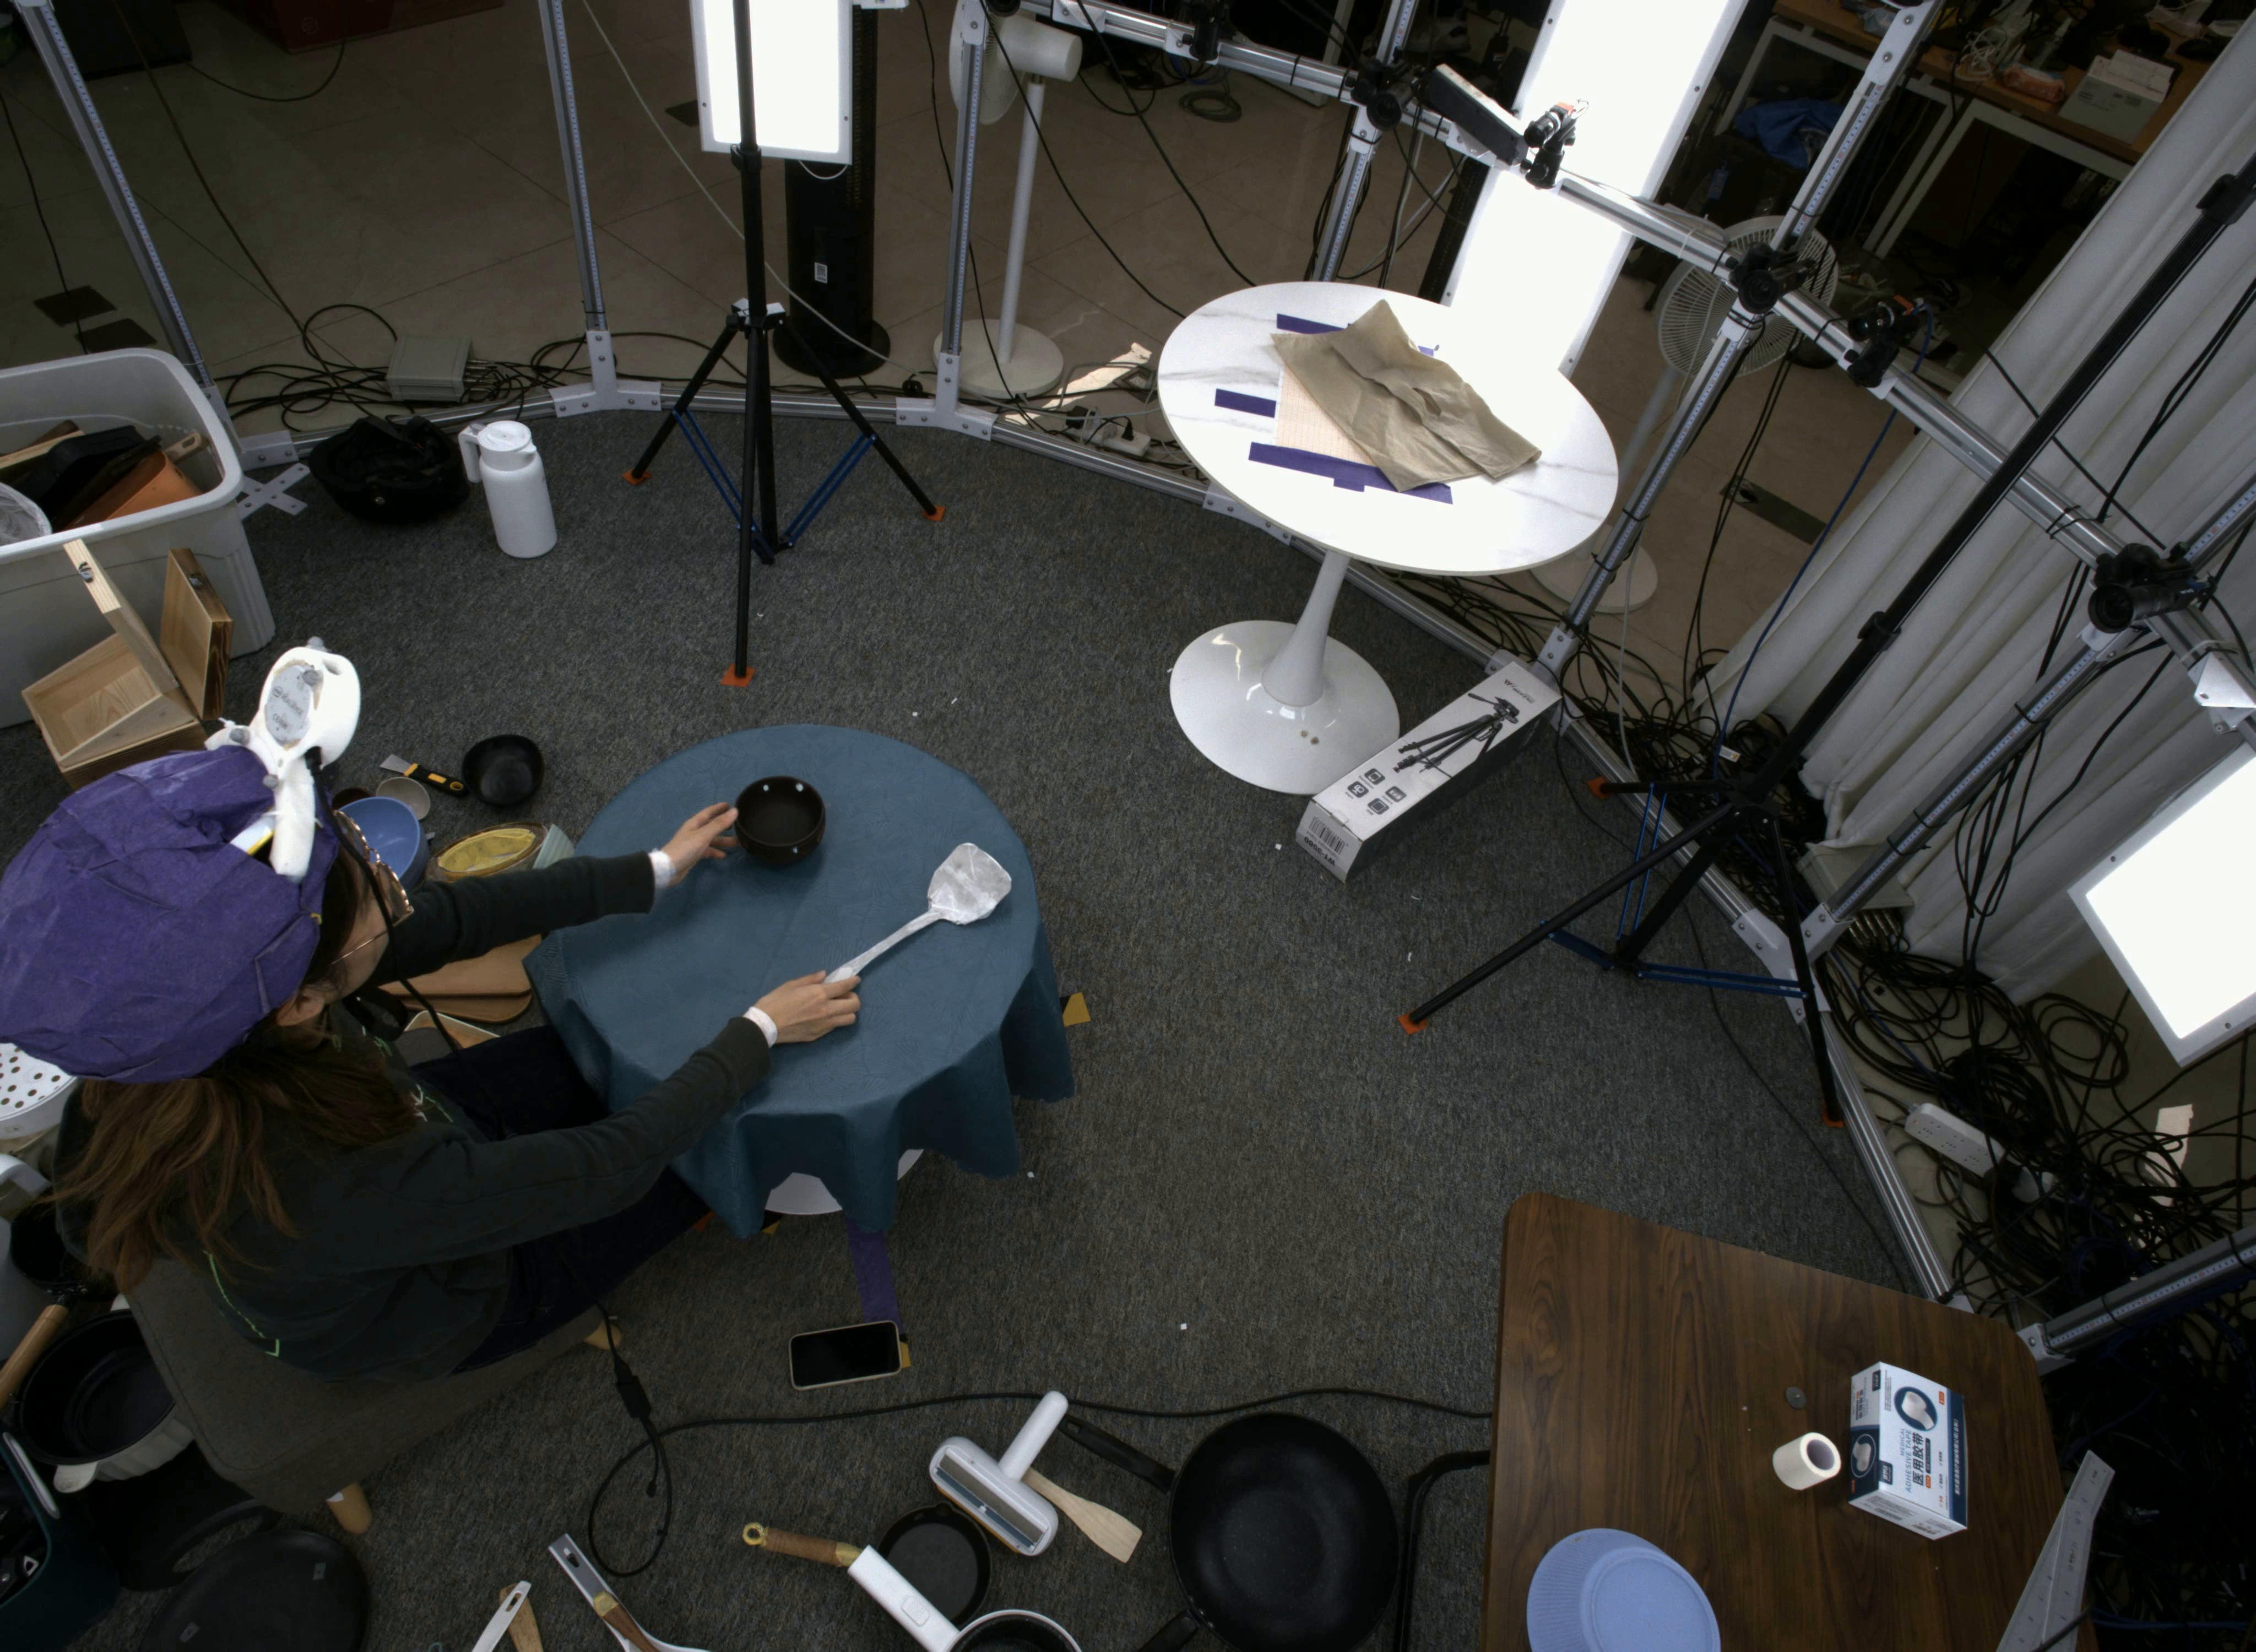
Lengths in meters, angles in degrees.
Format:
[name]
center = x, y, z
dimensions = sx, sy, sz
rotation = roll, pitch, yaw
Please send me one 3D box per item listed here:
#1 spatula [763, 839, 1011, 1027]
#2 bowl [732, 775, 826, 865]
[spatula]
center = -0.303, 0.140, 1.631
dimensions = 0.097, 0.045, 0.366
rotation = 43, 55, 17
[bowl]
center = -0.451, -0.001, 1.677
dimensions = 0.117, 0.071, 0.116
rotation = 6, 52, -7
